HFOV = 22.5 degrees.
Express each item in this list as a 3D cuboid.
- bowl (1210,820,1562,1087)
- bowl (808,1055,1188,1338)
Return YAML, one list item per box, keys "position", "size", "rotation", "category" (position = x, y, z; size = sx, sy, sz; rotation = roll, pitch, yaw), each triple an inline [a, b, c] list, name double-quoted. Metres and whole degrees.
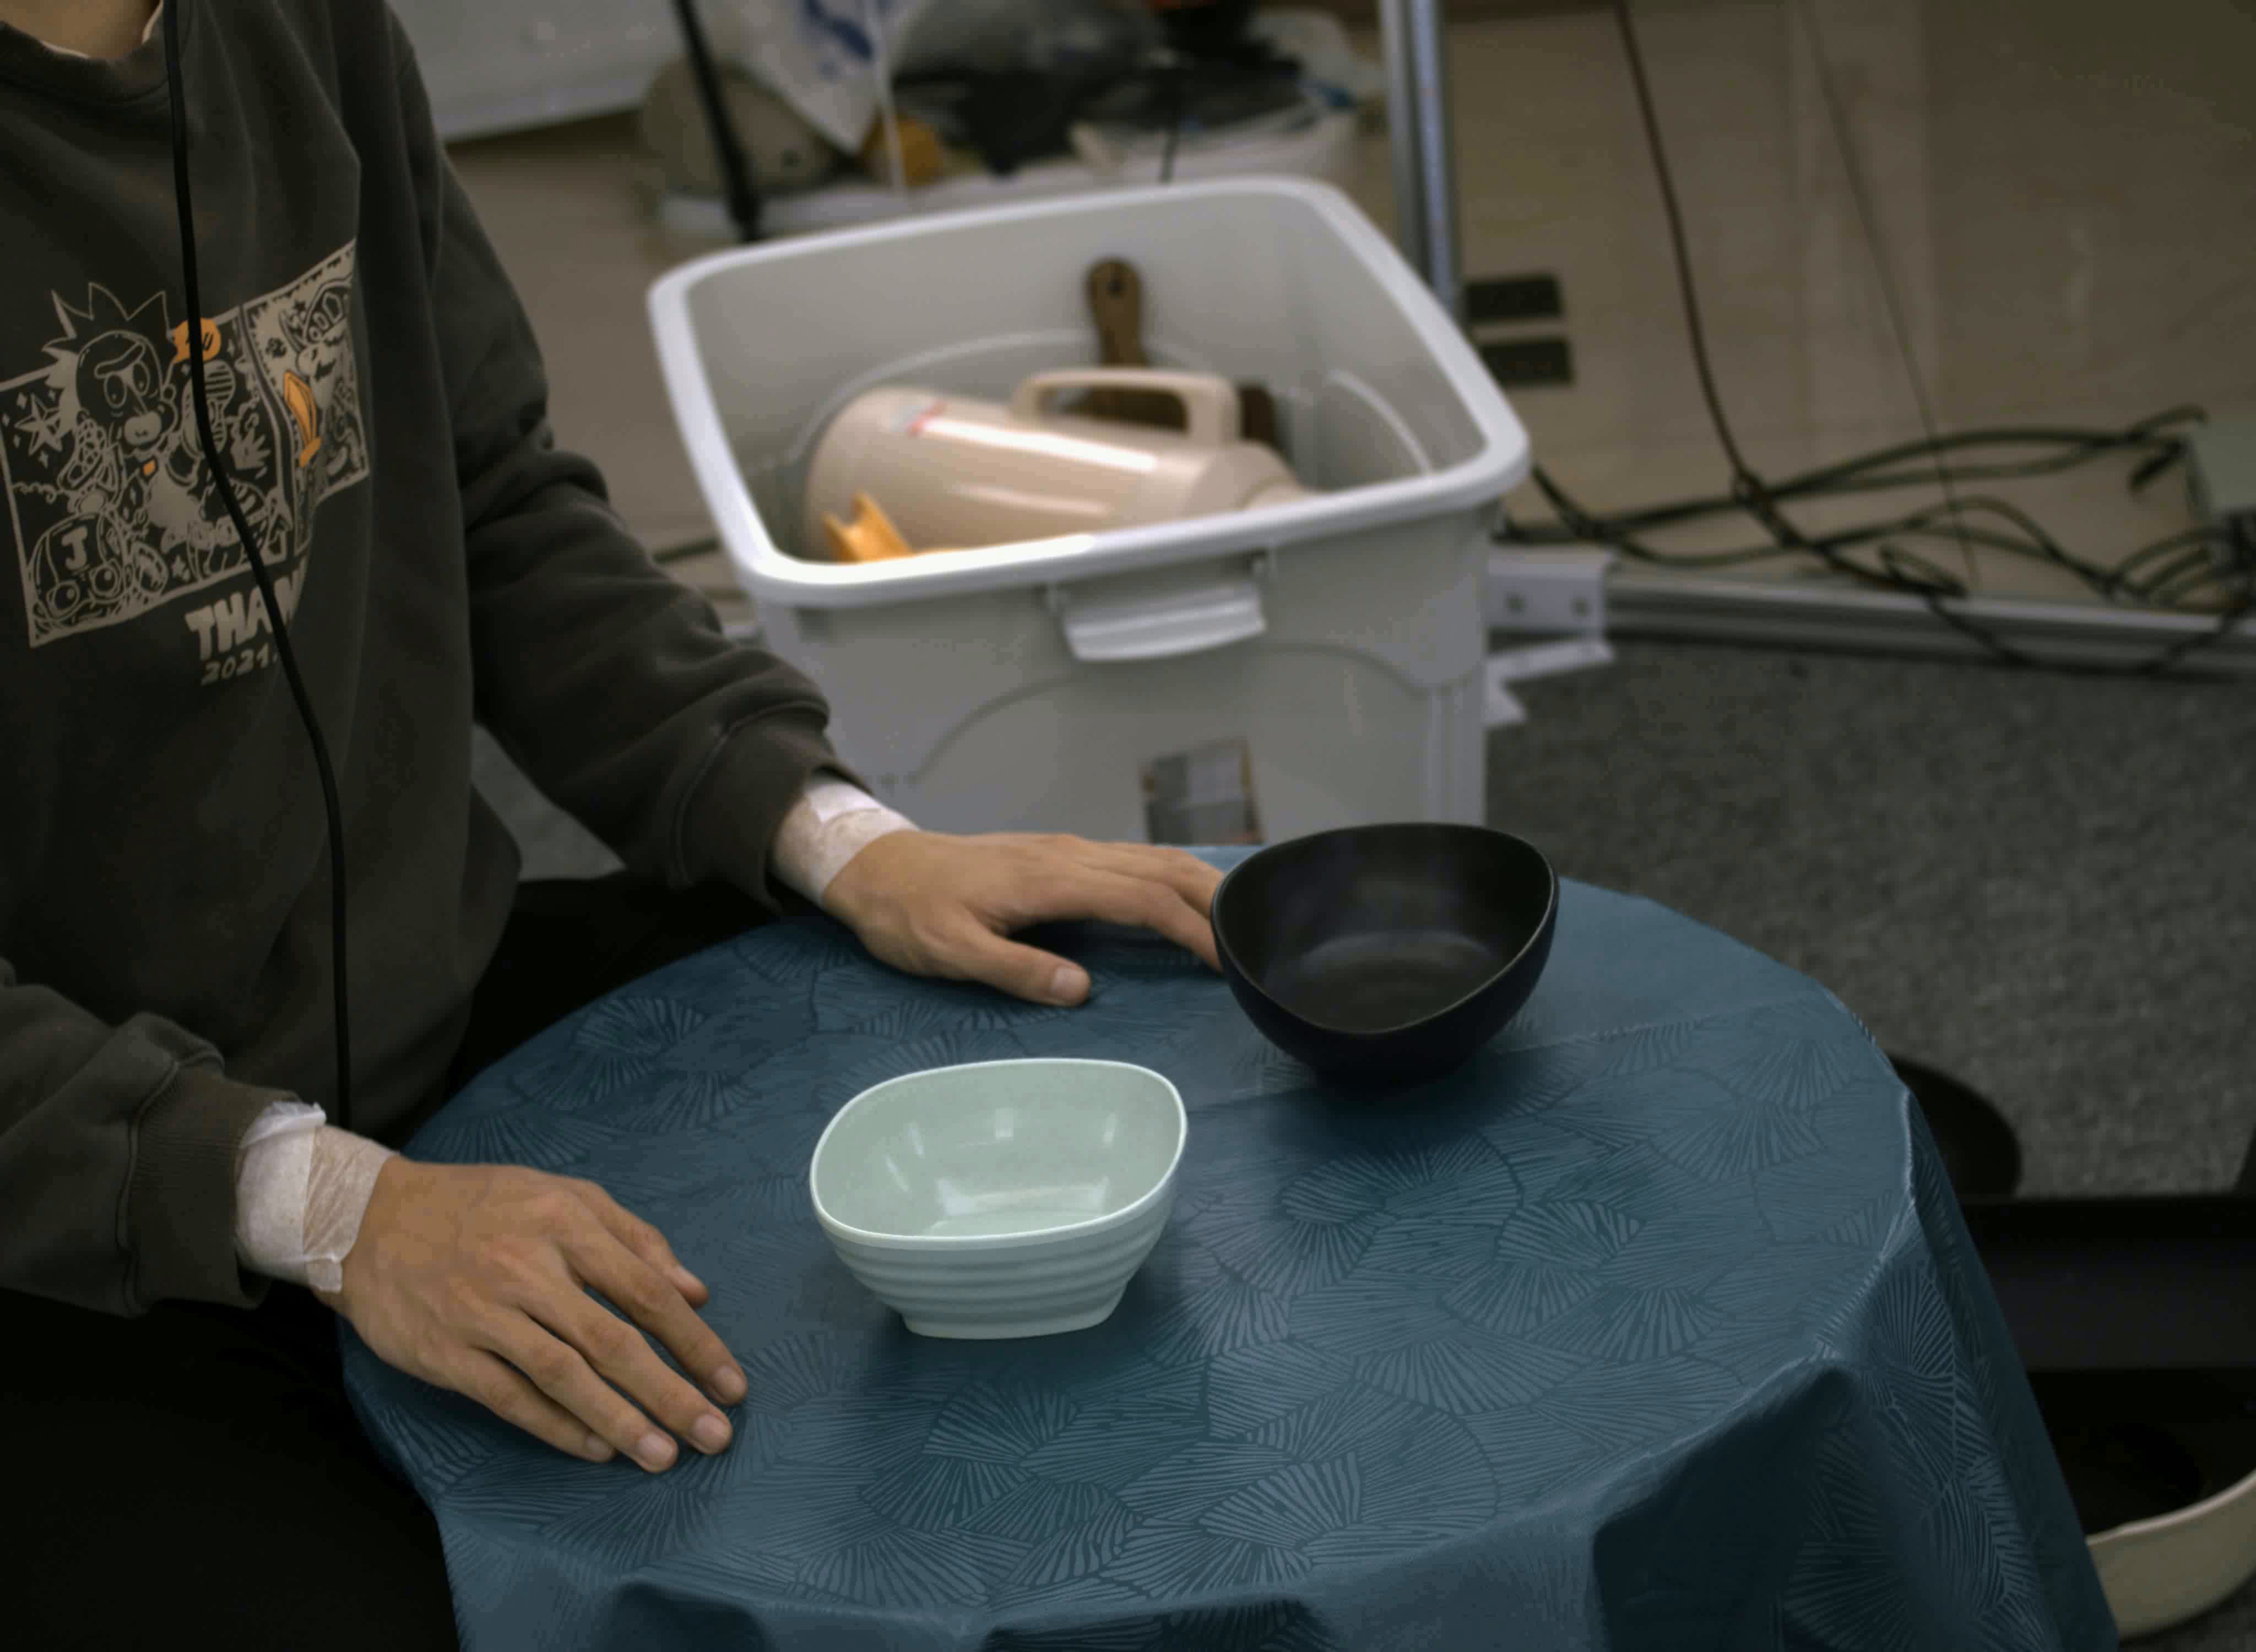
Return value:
- position: [0.103, 0.058, 2.220]
  size: [0.137, 0.068, 0.168]
  rotation: [-4, 26, 6]
  category: "bowl"
- position: [-0.046, 0.142, 2.081]
  size: [0.151, 0.059, 0.149]
  rotation: [-3, 26, 2]
  category: "bowl"
